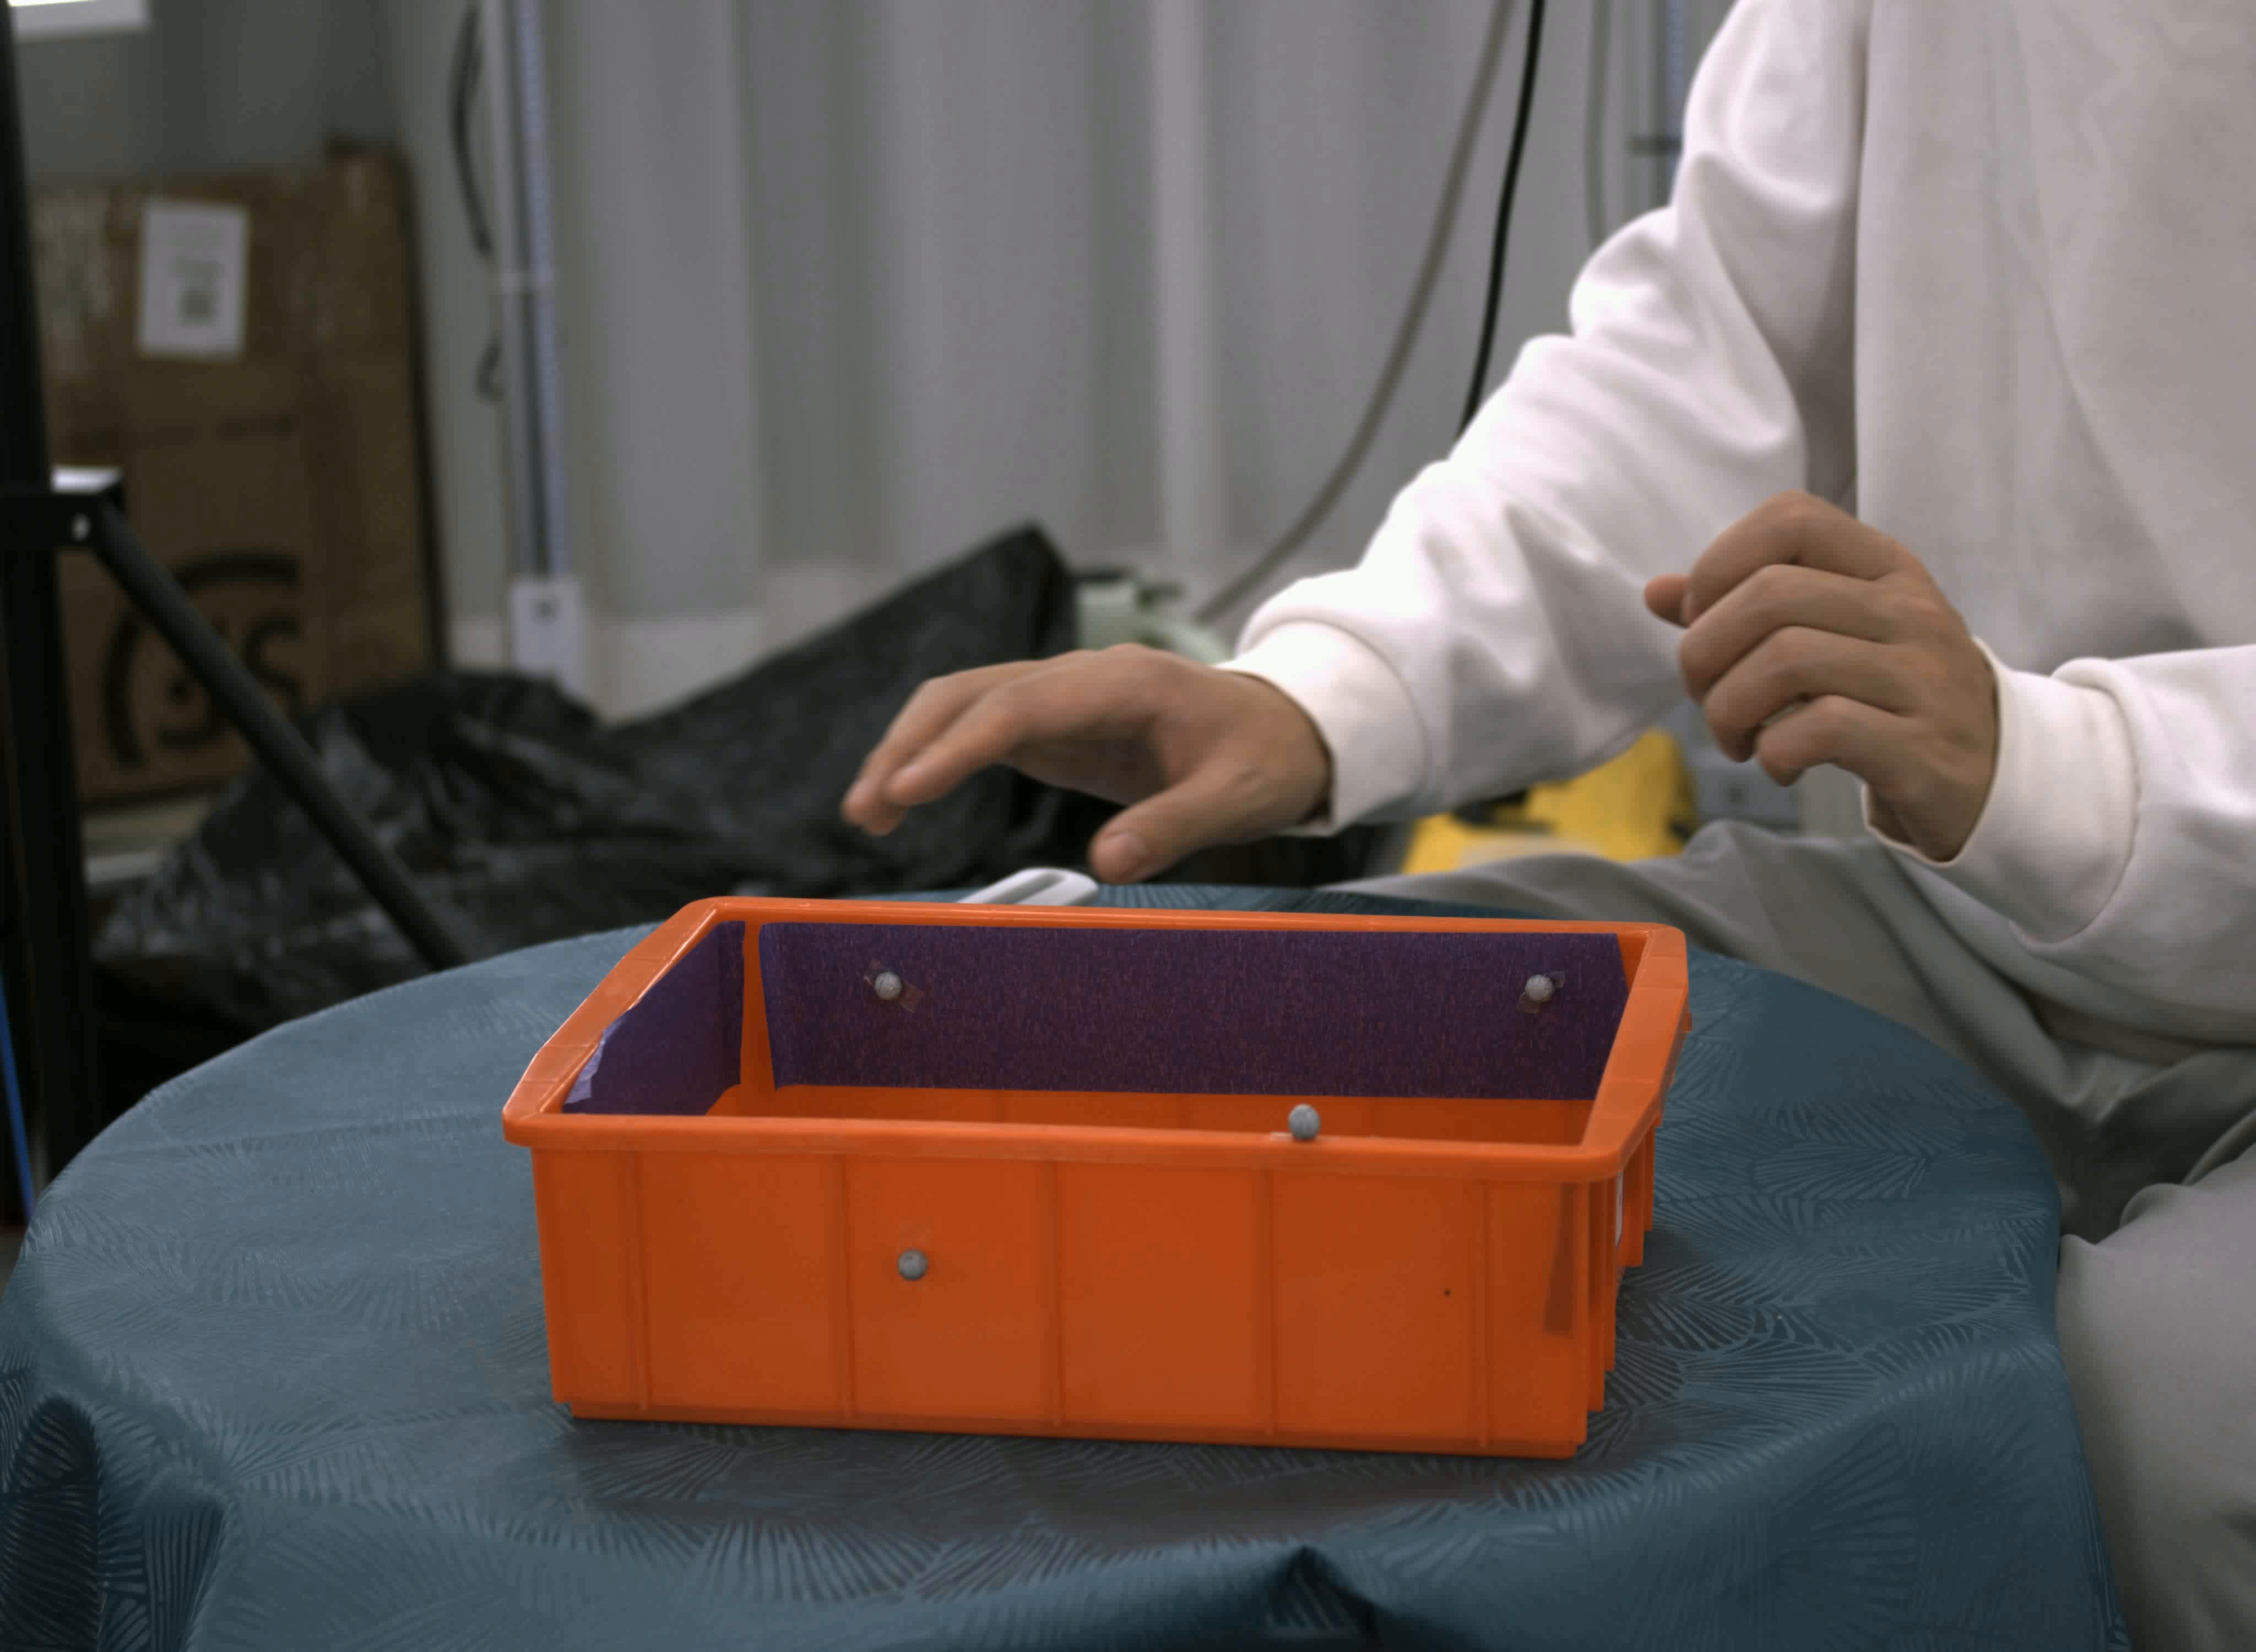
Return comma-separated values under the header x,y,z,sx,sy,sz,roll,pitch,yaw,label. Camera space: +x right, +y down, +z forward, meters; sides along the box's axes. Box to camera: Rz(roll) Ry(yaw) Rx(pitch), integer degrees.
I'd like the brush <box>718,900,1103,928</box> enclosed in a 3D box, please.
x,y,z,sx,sy,sz,roll,pitch,yaw,label
-0.071,0.057,1.720,0.069,0.056,0.262,21,9,20,brush

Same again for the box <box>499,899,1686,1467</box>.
x,y,z,sx,sy,sz,roll,pitch,yaw,label
-0.003,0.094,1.453,0.305,0.096,0.205,3,16,12,box
